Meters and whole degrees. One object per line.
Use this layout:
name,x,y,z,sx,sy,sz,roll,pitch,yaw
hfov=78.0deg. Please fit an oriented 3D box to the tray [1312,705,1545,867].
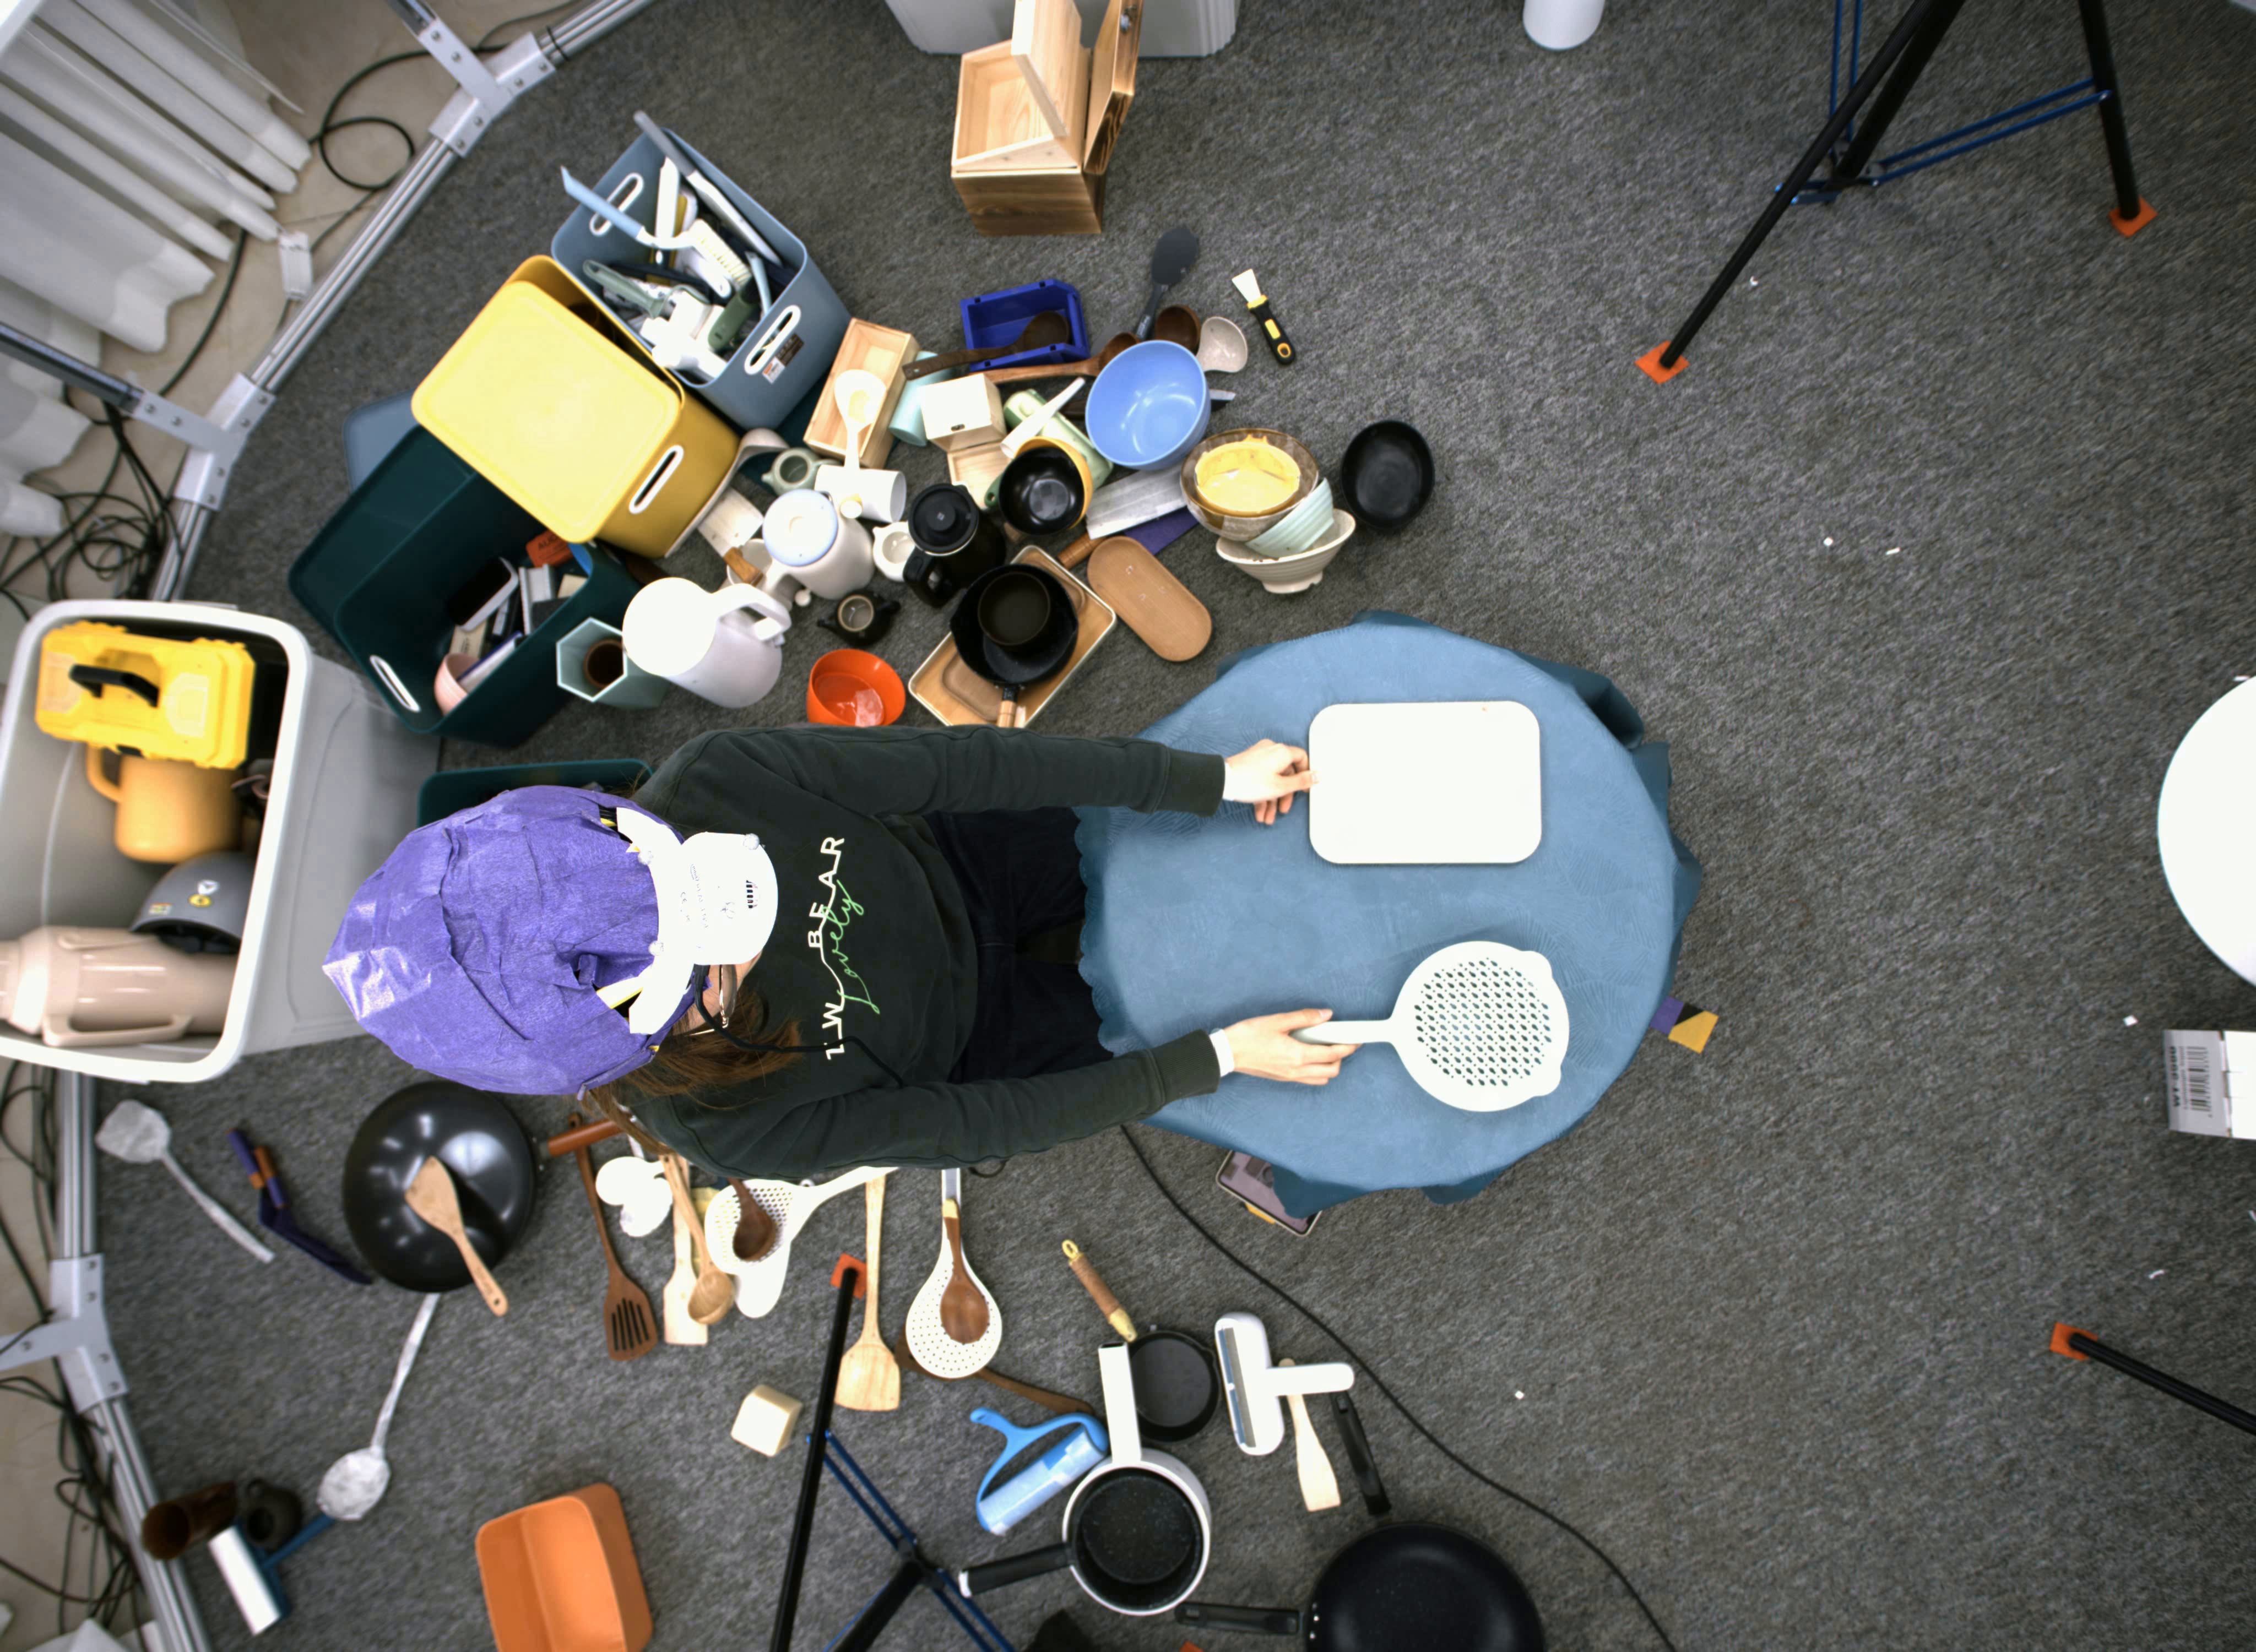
tray,0.316,-0.043,1.456,0.240,0.017,0.170,-1,86,11

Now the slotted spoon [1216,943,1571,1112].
slotted spoon,0.266,0.210,1.423,0.360,0.075,0.168,-5,86,10
